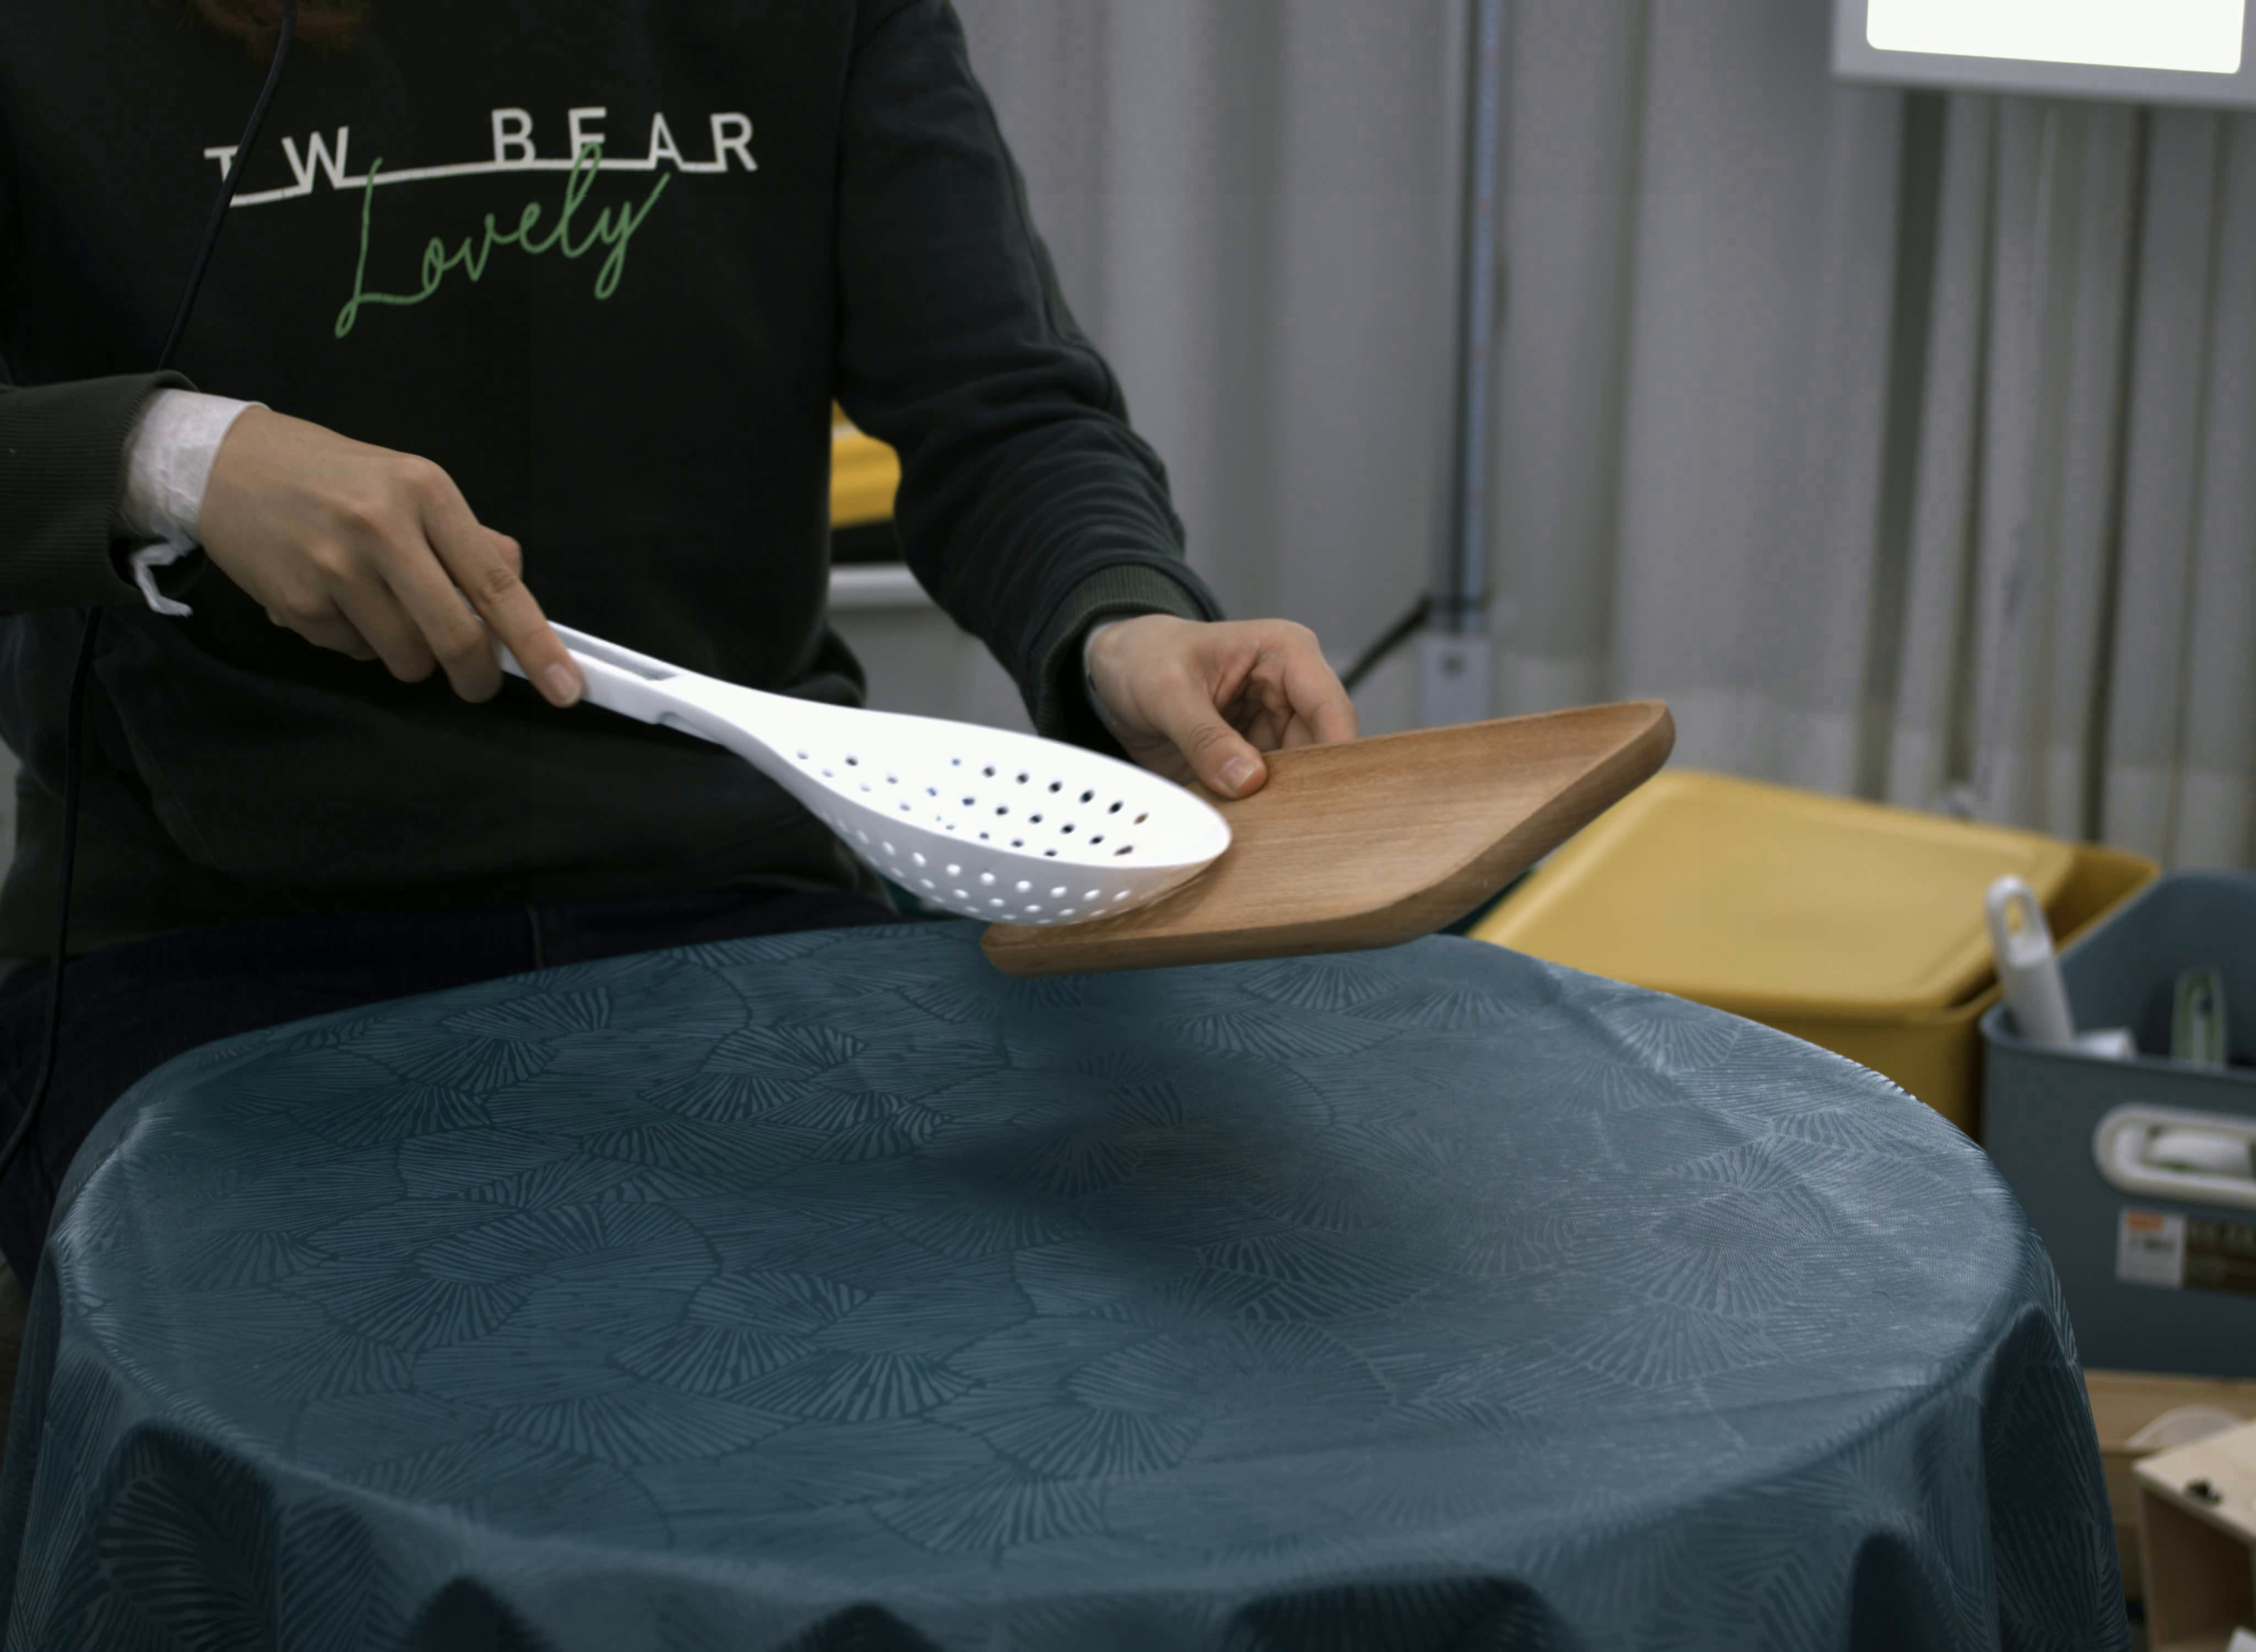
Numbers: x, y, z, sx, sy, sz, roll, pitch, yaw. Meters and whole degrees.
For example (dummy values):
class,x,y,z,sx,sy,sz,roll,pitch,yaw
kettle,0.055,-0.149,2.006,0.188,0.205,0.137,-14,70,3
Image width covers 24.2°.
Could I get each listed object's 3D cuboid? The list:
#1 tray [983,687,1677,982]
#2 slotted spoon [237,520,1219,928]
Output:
class,x,y,z,sx,sy,sz,roll,pitch,yaw
tray,0.058,0.005,1.592,0.130,0.023,0.248,-34,13,-29
slotted spoon,-0.134,-0.038,1.661,0.346,0.046,0.136,25,16,19
